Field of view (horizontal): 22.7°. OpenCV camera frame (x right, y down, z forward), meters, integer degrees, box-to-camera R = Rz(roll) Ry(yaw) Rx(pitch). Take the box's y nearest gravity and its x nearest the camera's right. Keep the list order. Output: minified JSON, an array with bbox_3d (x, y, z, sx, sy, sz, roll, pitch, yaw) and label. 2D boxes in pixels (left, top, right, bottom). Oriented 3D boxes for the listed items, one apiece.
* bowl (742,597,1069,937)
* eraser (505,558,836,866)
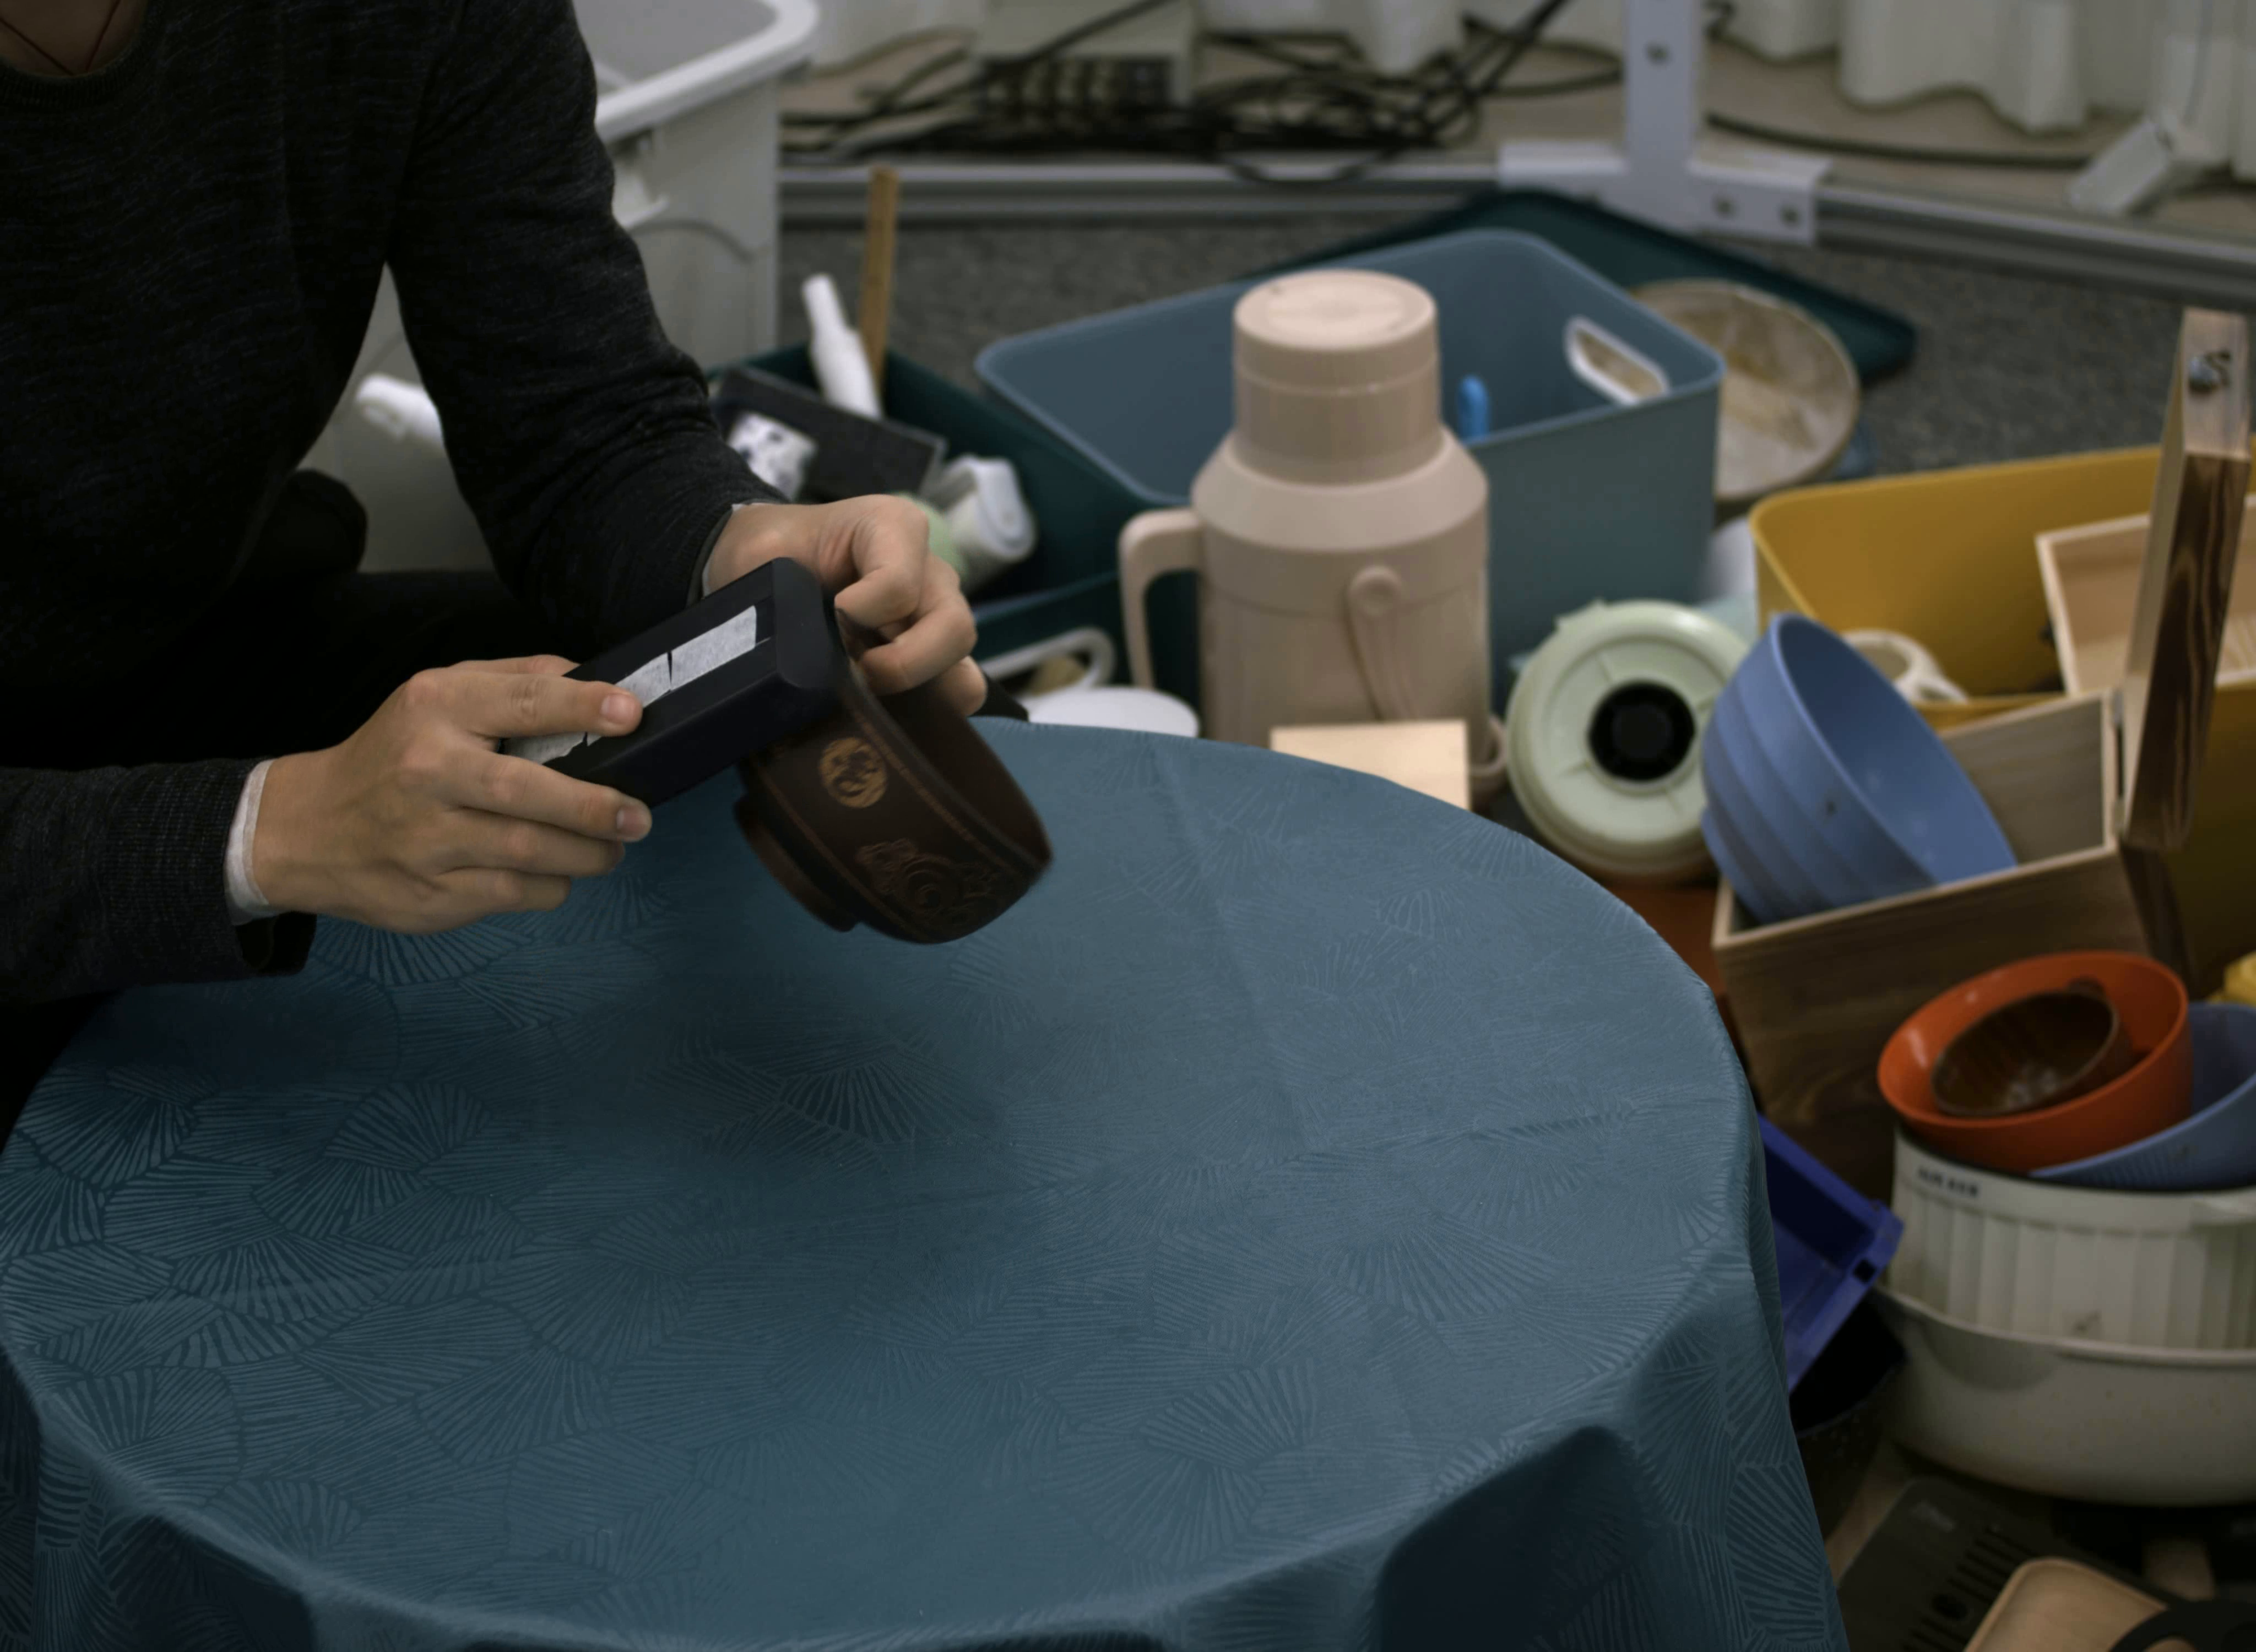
[{"bbox_3d":[-0.083,-0.011,1.861,0.069,0.117,0.119,-44,27,10],"label":"bowl"},{"bbox_3d":[-0.149,-0.037,1.833,0.124,0.030,0.054,-29,45,26],"label":"eraser"}]
